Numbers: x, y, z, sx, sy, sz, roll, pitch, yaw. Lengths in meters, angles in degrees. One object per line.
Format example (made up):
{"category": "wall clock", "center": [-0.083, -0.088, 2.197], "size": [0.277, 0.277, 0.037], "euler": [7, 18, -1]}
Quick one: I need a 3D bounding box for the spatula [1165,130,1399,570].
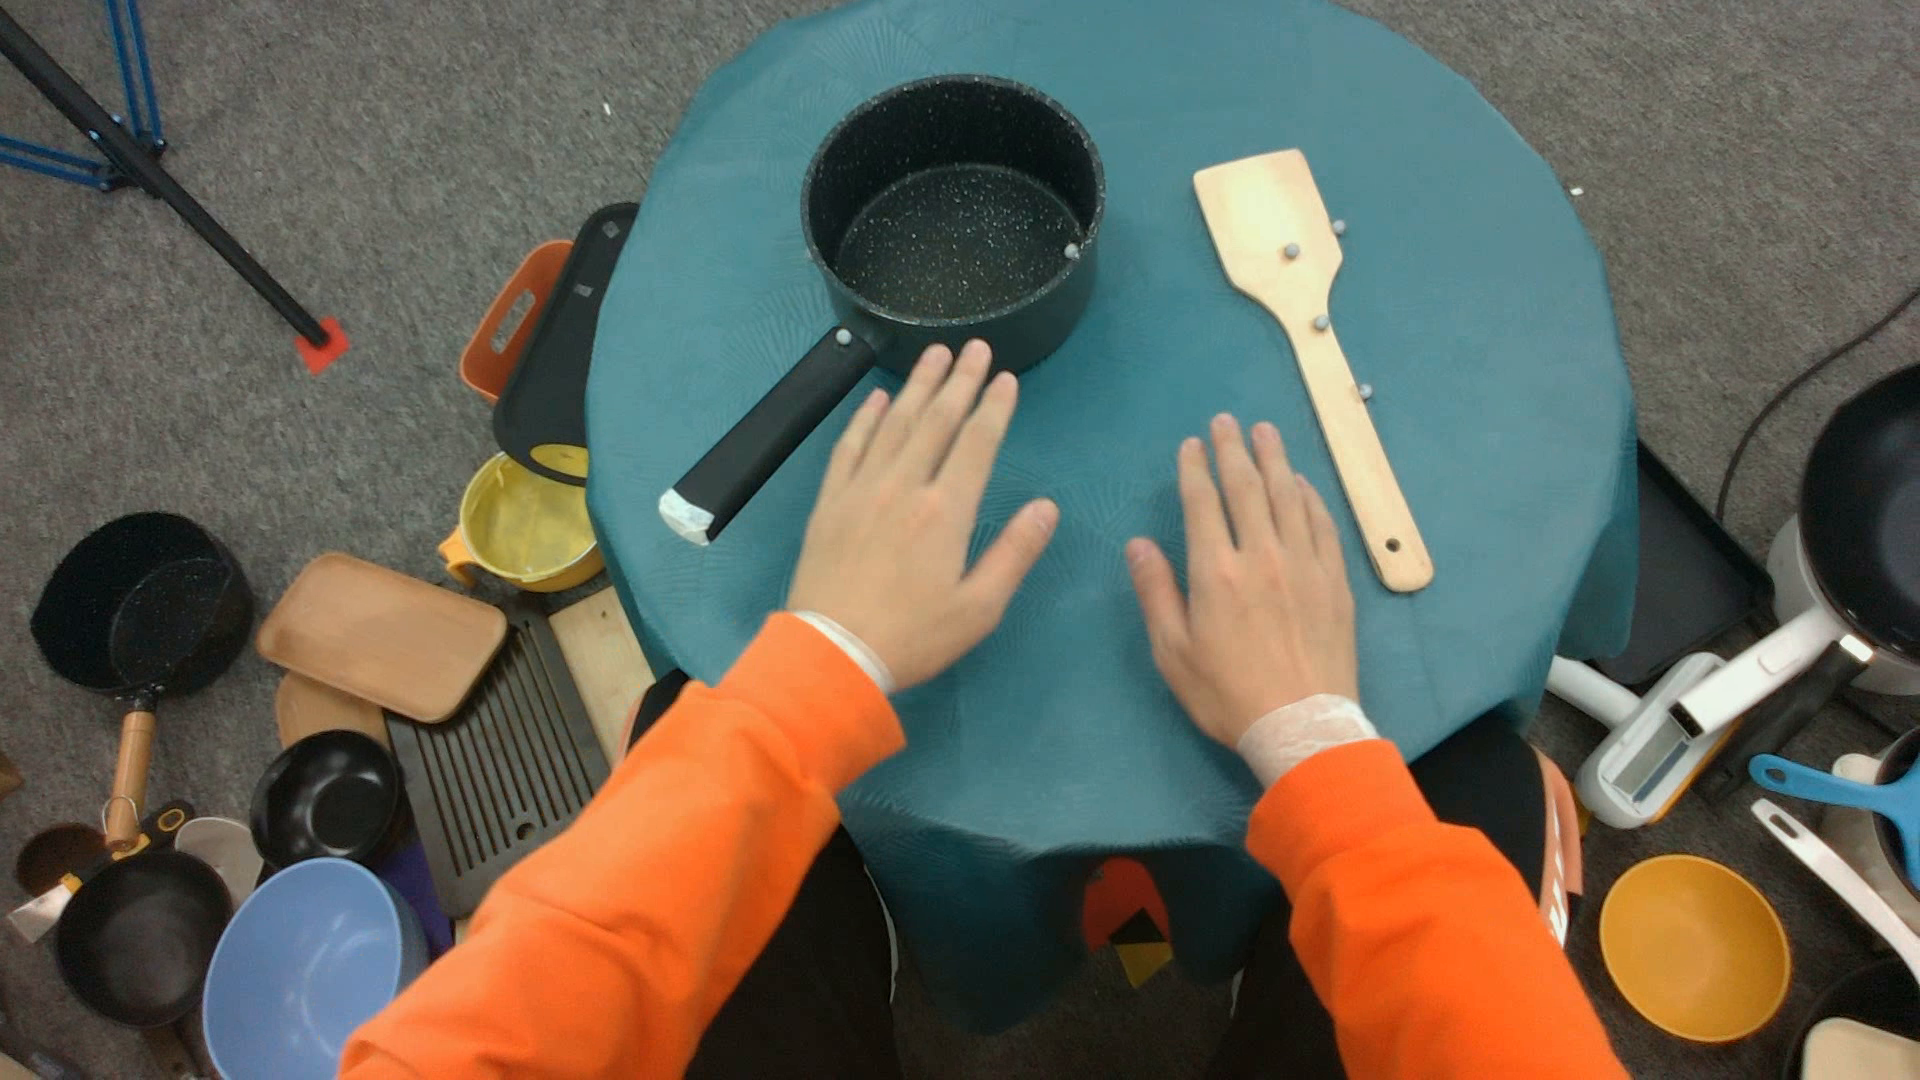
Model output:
{"category": "spatula", "center": [0.191, -0.115, 0.786], "size": [0.072, 0.010, 0.294], "euler": [-12, 66, -5]}

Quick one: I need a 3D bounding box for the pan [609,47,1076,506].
{"category": "pan", "center": [-0.066, -0.133, 0.770], "size": [0.172, 0.086, 0.330], "euler": [33, 71, 17]}
